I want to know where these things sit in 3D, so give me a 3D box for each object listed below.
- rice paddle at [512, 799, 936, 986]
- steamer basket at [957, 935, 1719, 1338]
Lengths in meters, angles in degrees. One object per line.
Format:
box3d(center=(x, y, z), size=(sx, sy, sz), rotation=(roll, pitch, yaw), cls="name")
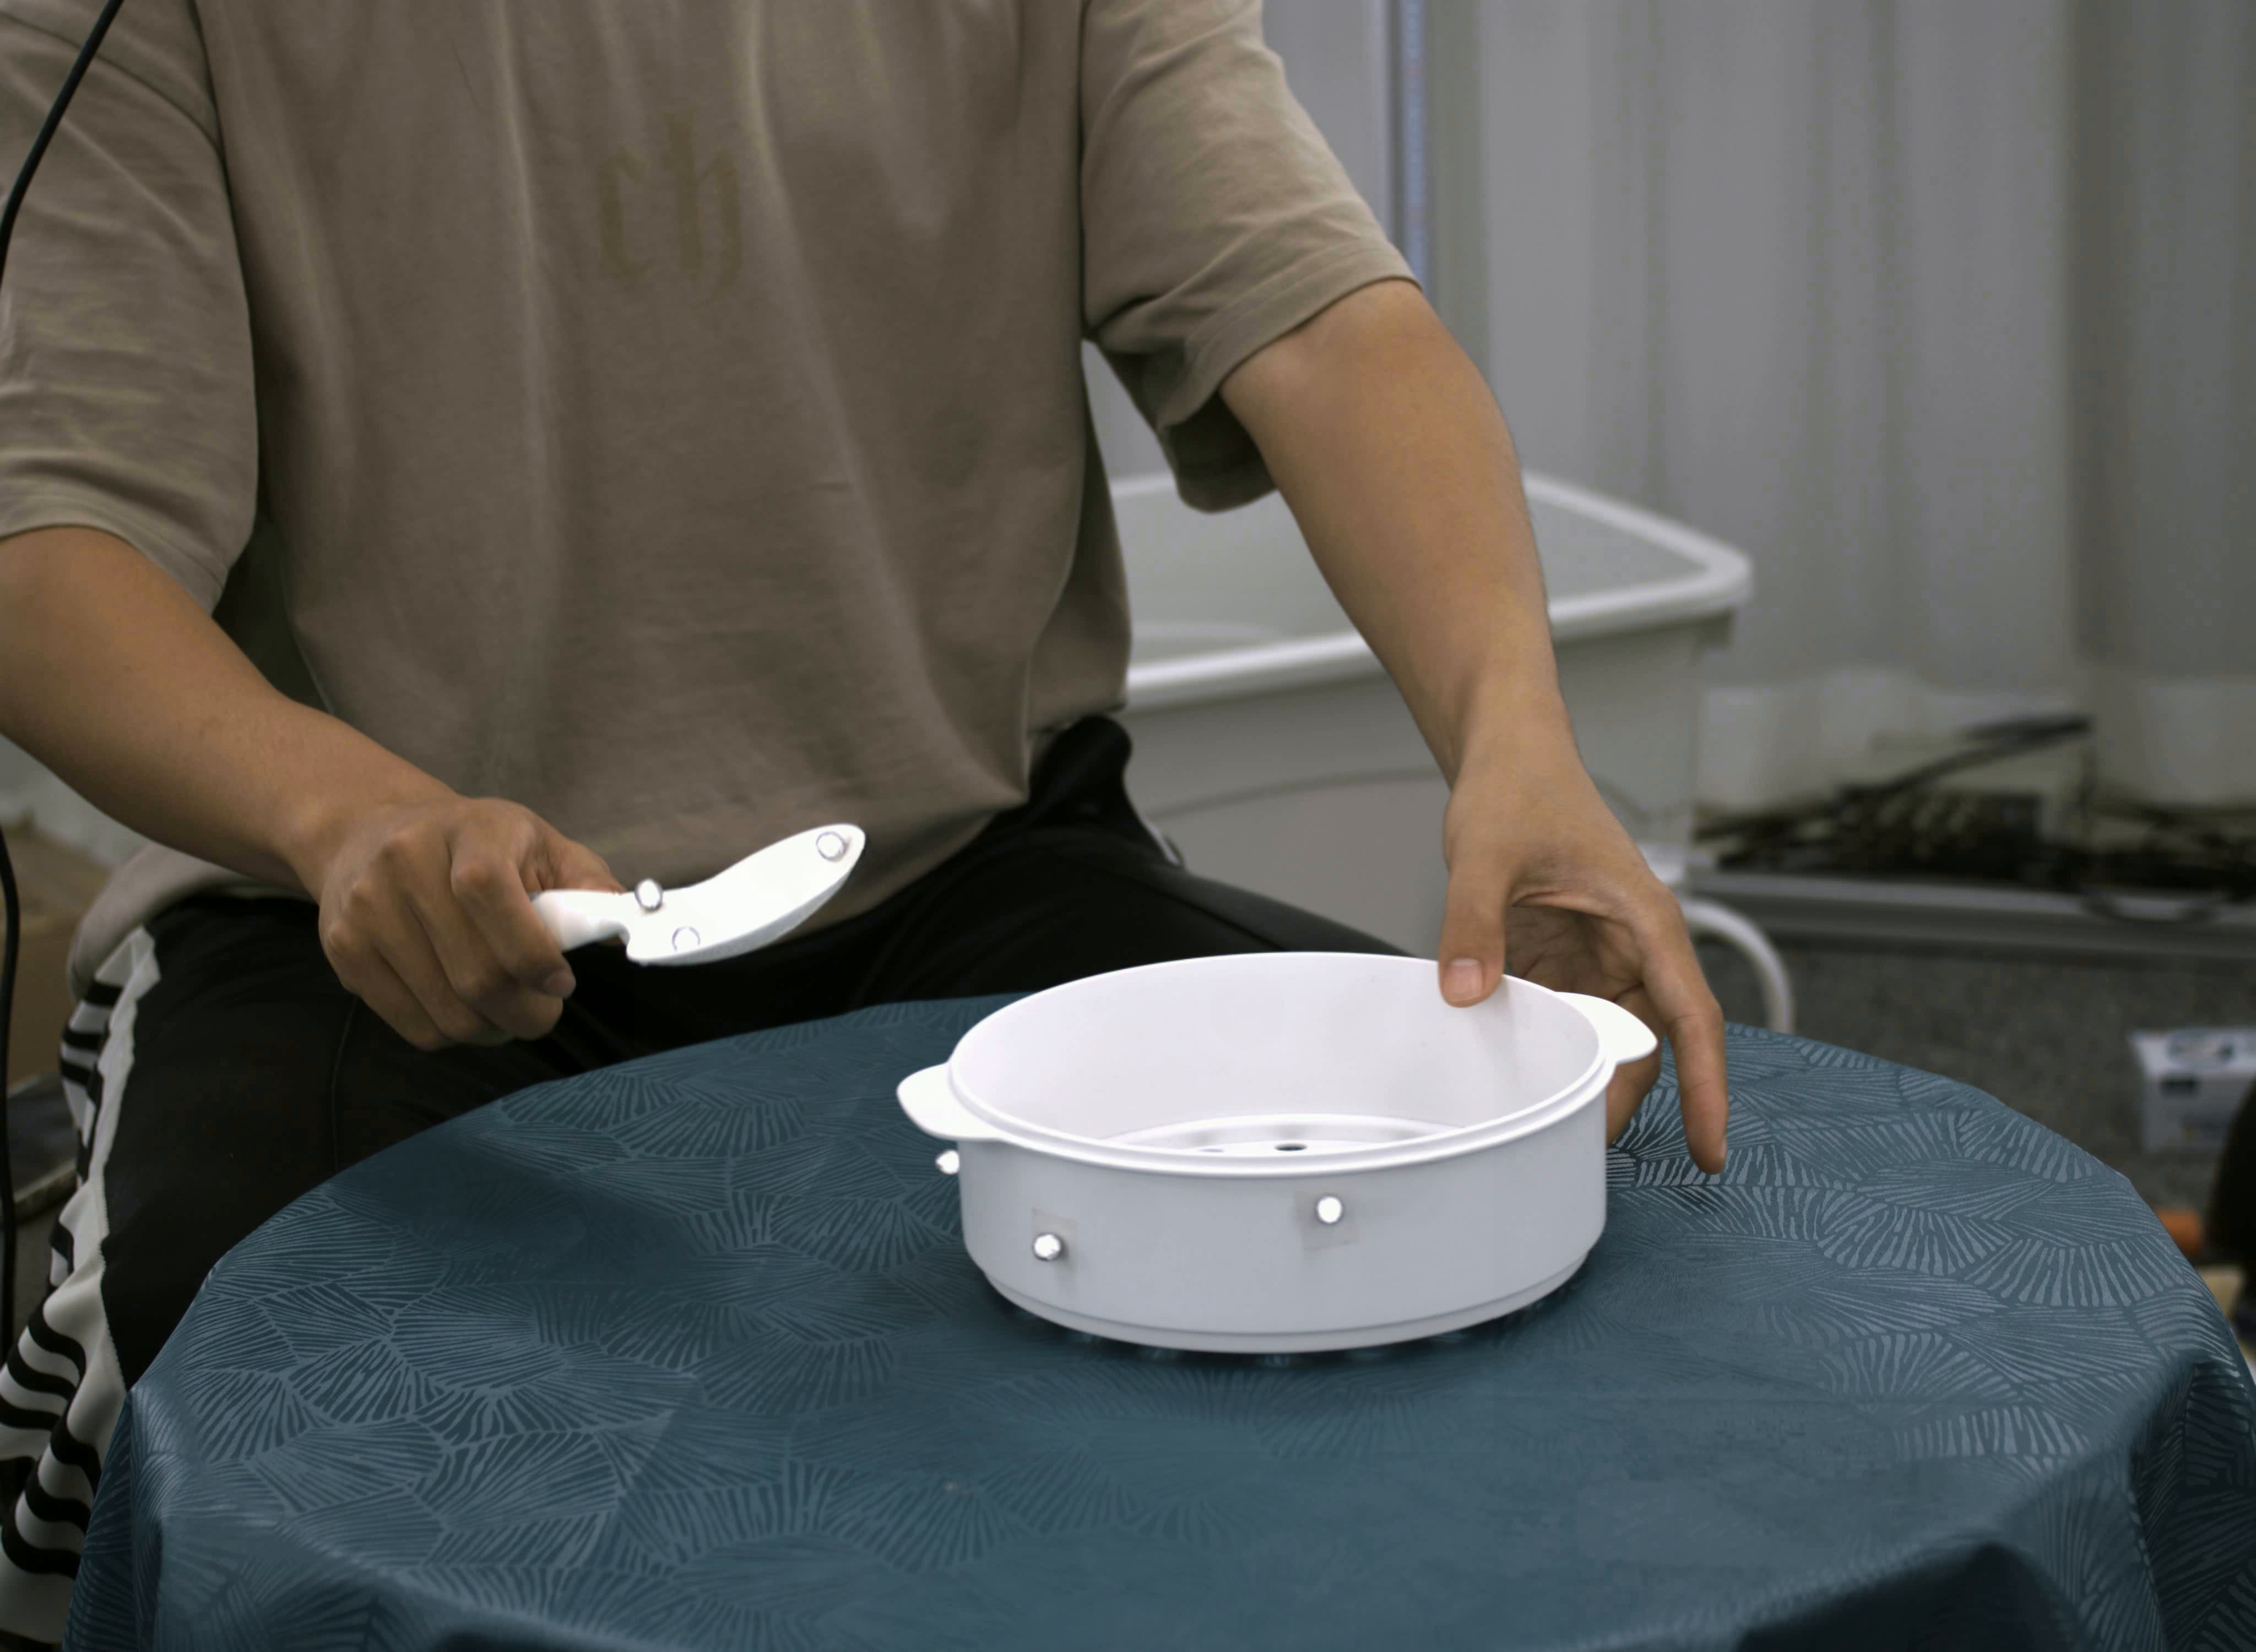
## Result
box3d(center=(-0.121, 0.020, 1.621), size=(0.069, 0.029, 0.205), rotation=(-42, 16, -32), cls="rice paddle")
box3d(center=(0.063, 0.093, 1.639), size=(0.229, 0.069, 0.203), rotation=(-4, 16, -14), cls="steamer basket")
